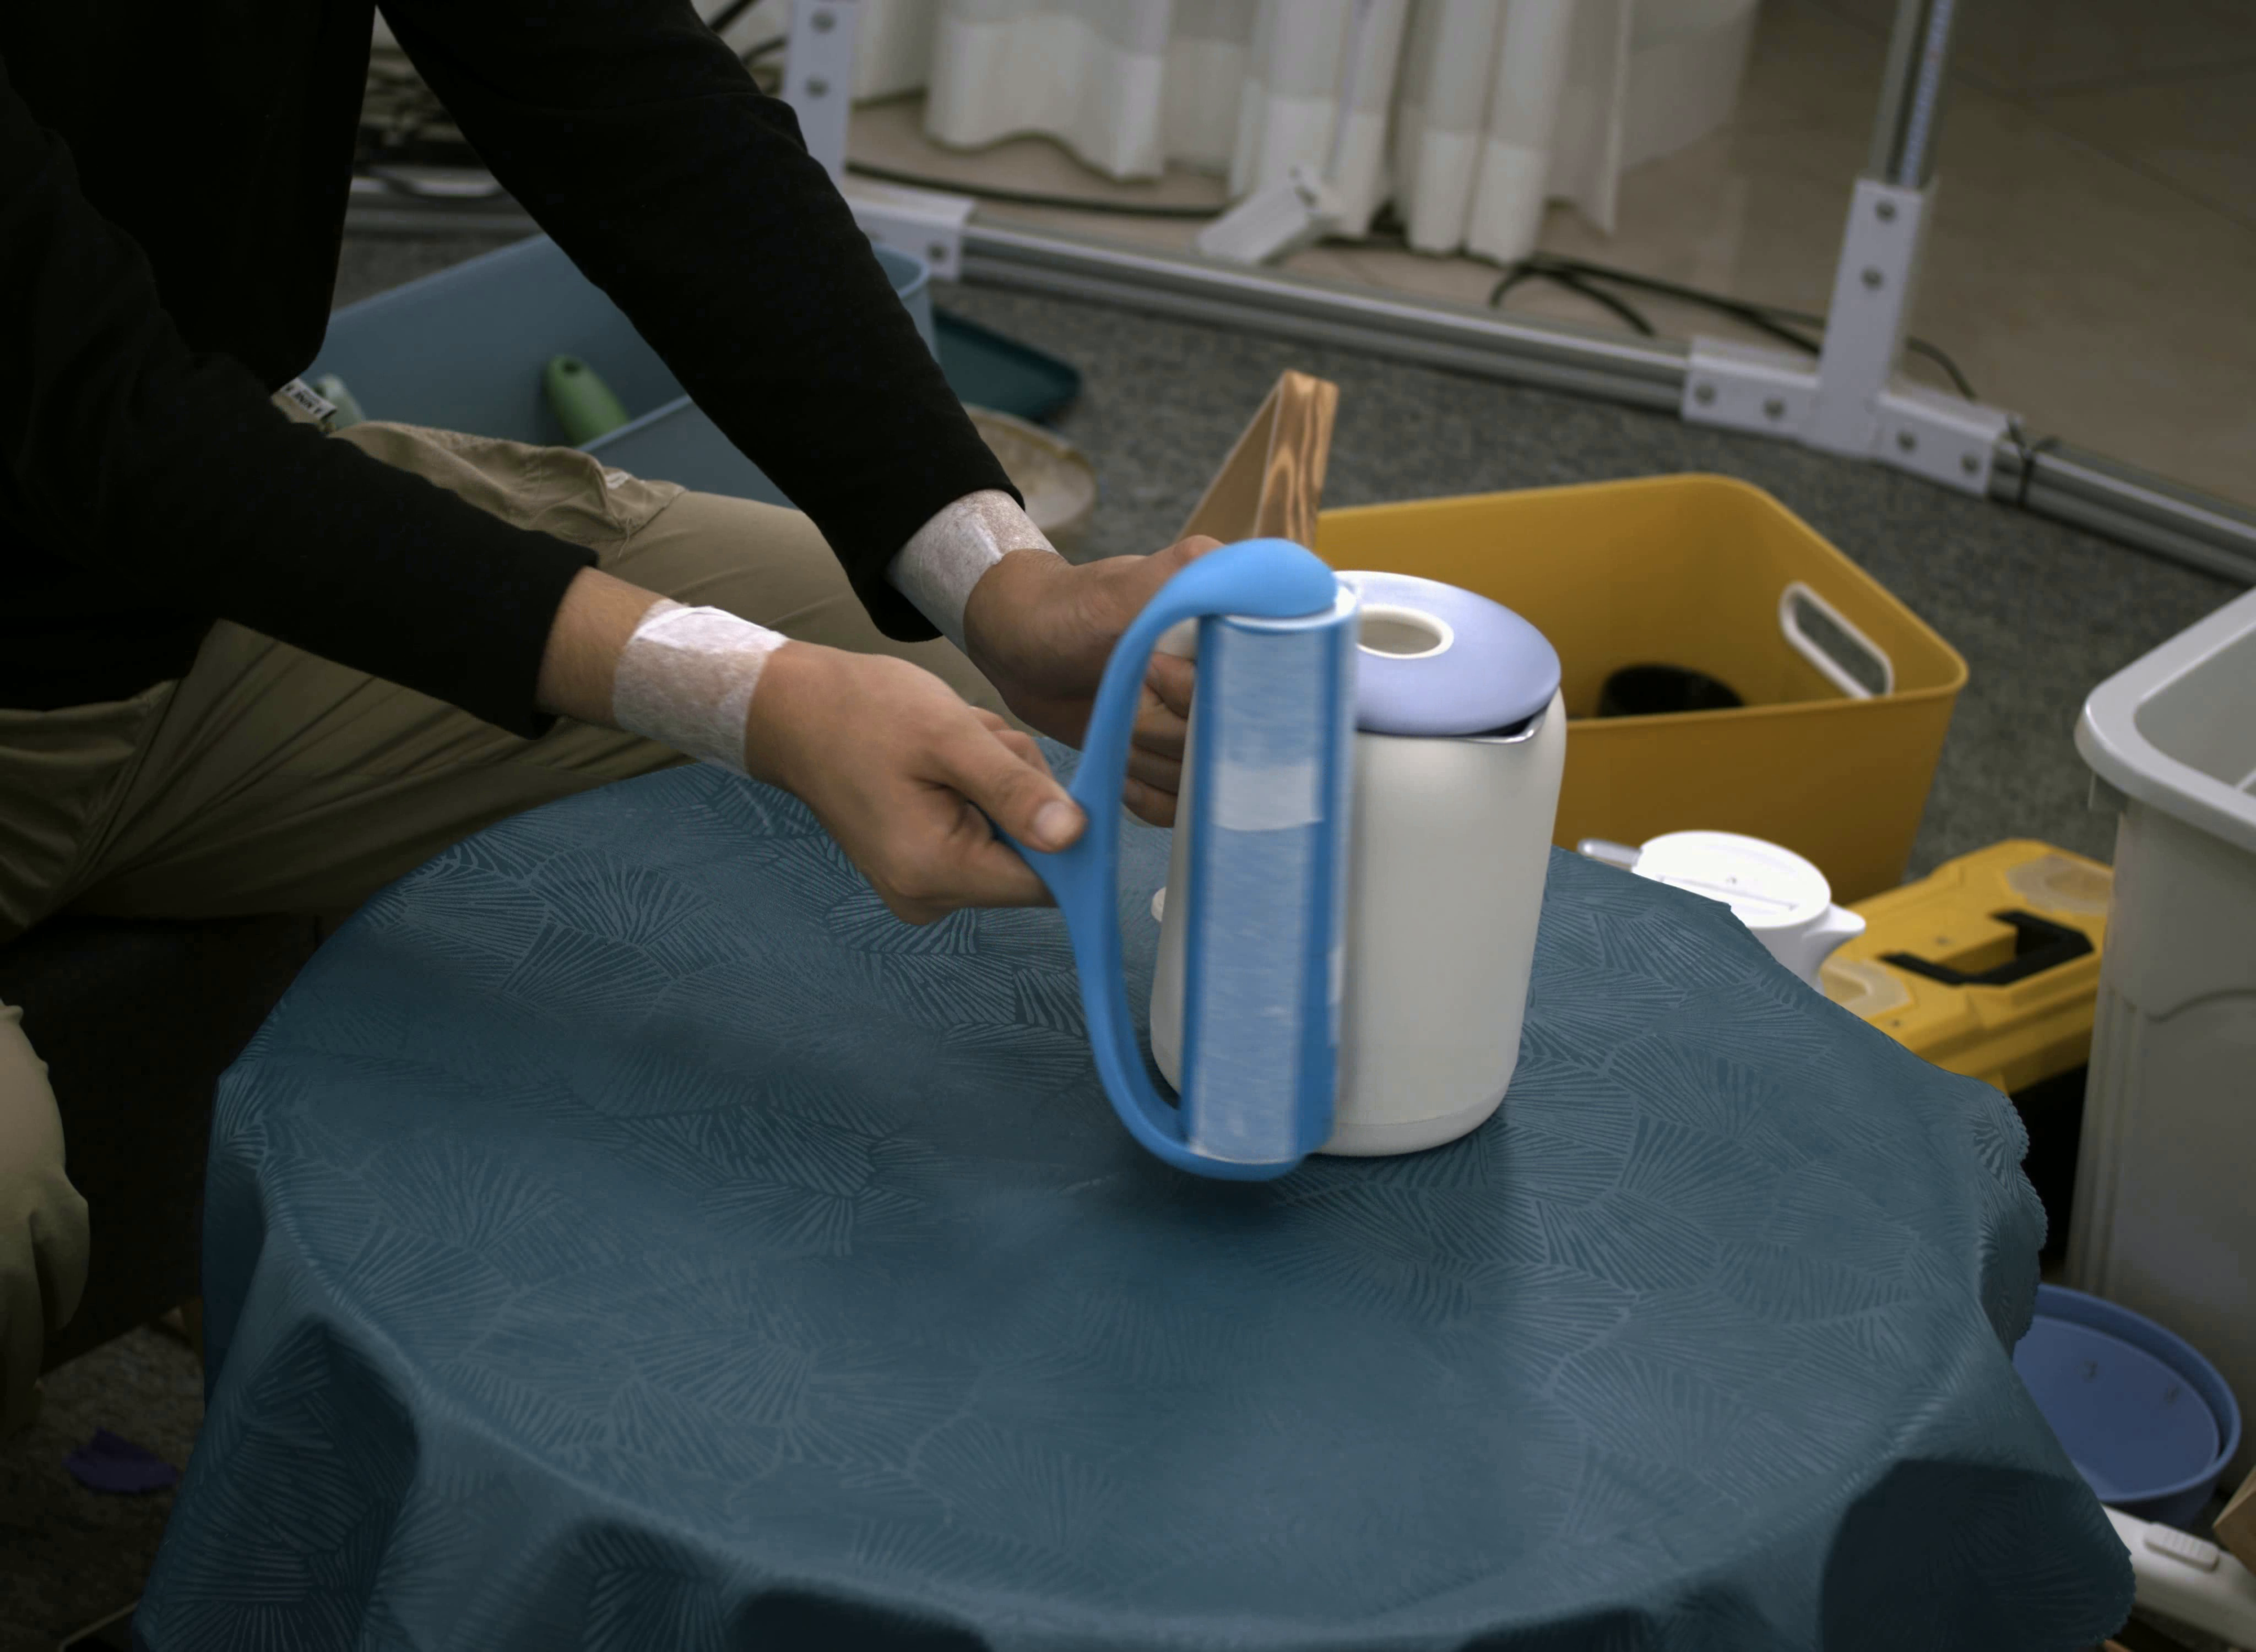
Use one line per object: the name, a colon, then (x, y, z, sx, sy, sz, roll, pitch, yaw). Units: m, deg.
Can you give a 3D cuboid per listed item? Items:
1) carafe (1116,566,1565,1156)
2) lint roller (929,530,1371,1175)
carafe: (0.063, 0.002, 1.865, 0.131, 0.182, 0.192, -17, 33, -40)
lint roller: (-0.003, 0.001, 1.785, 0.181, 0.228, 0.068, 12, 27, 27)
